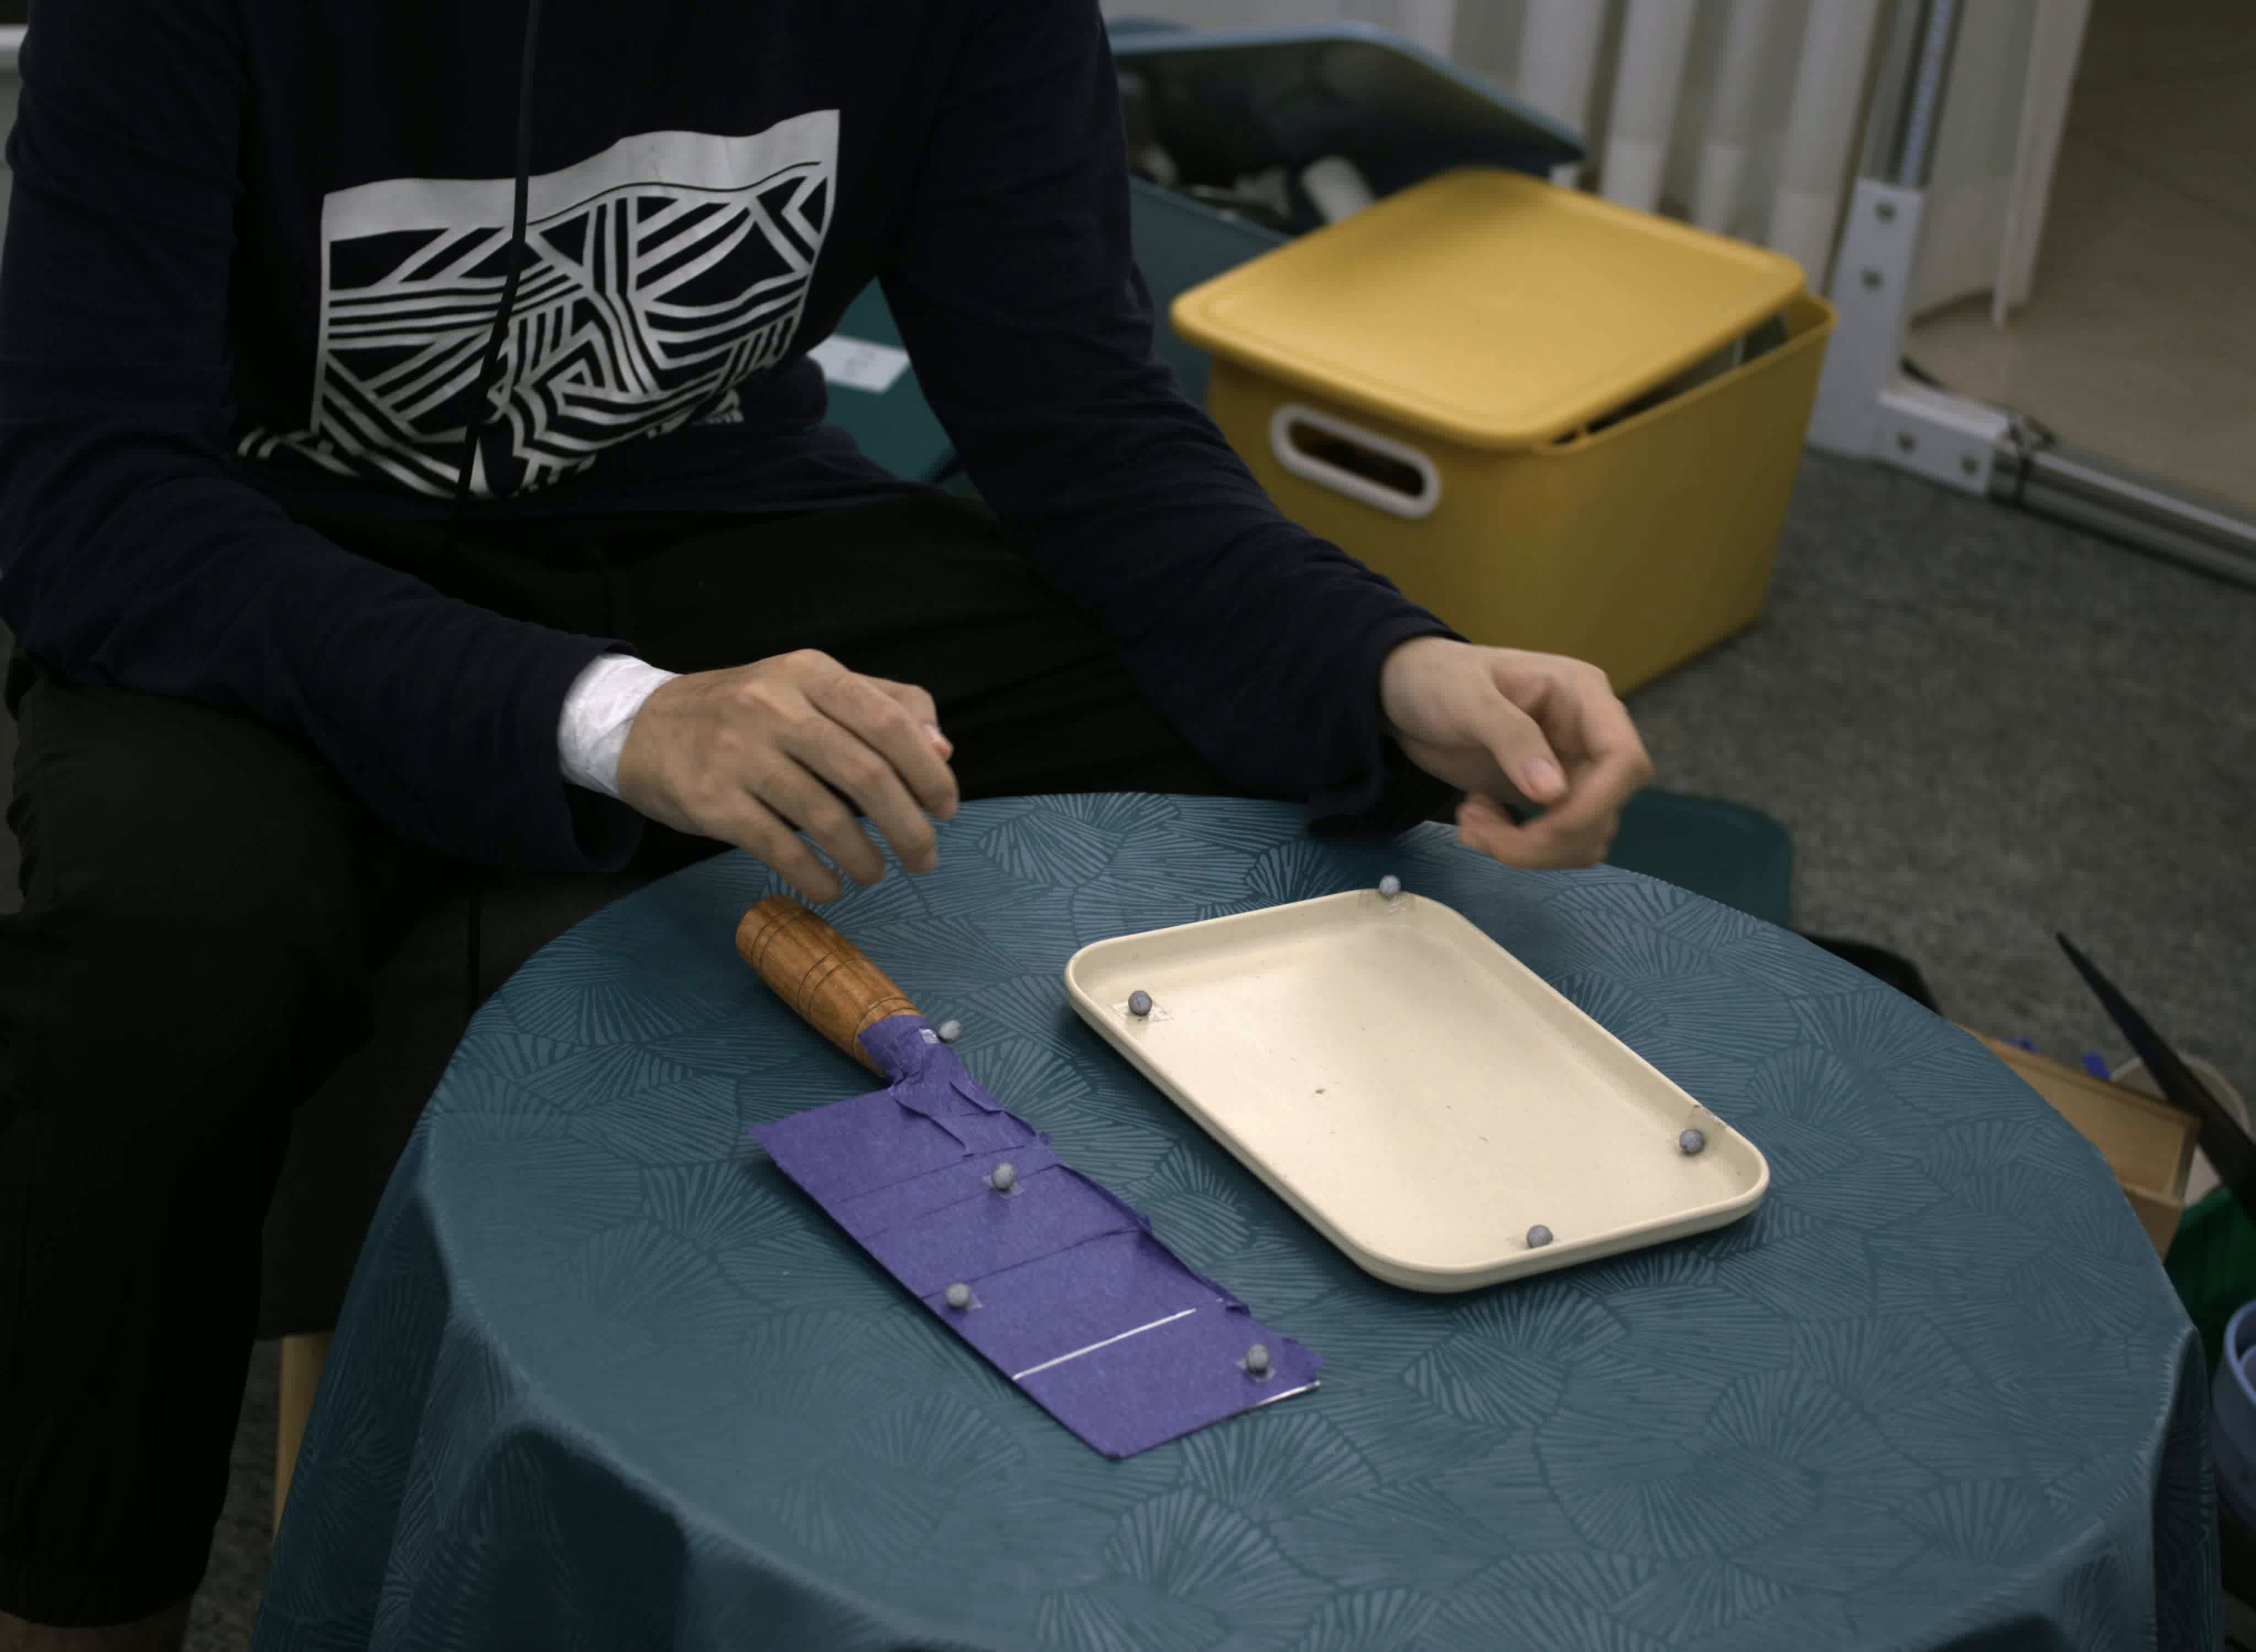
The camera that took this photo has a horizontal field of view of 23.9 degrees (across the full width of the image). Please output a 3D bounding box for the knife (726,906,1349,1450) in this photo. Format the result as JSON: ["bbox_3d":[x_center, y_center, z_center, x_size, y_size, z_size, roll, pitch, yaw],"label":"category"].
[{"bbox_3d":[-0.061,0.113,1.783,0.103,0.032,0.318,-14,34,-36],"label":"knife"}]

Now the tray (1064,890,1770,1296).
[{"bbox_3d":[0.098,0.092,1.871,0.170,0.017,0.242,-11,32,-30],"label":"tray"}]
